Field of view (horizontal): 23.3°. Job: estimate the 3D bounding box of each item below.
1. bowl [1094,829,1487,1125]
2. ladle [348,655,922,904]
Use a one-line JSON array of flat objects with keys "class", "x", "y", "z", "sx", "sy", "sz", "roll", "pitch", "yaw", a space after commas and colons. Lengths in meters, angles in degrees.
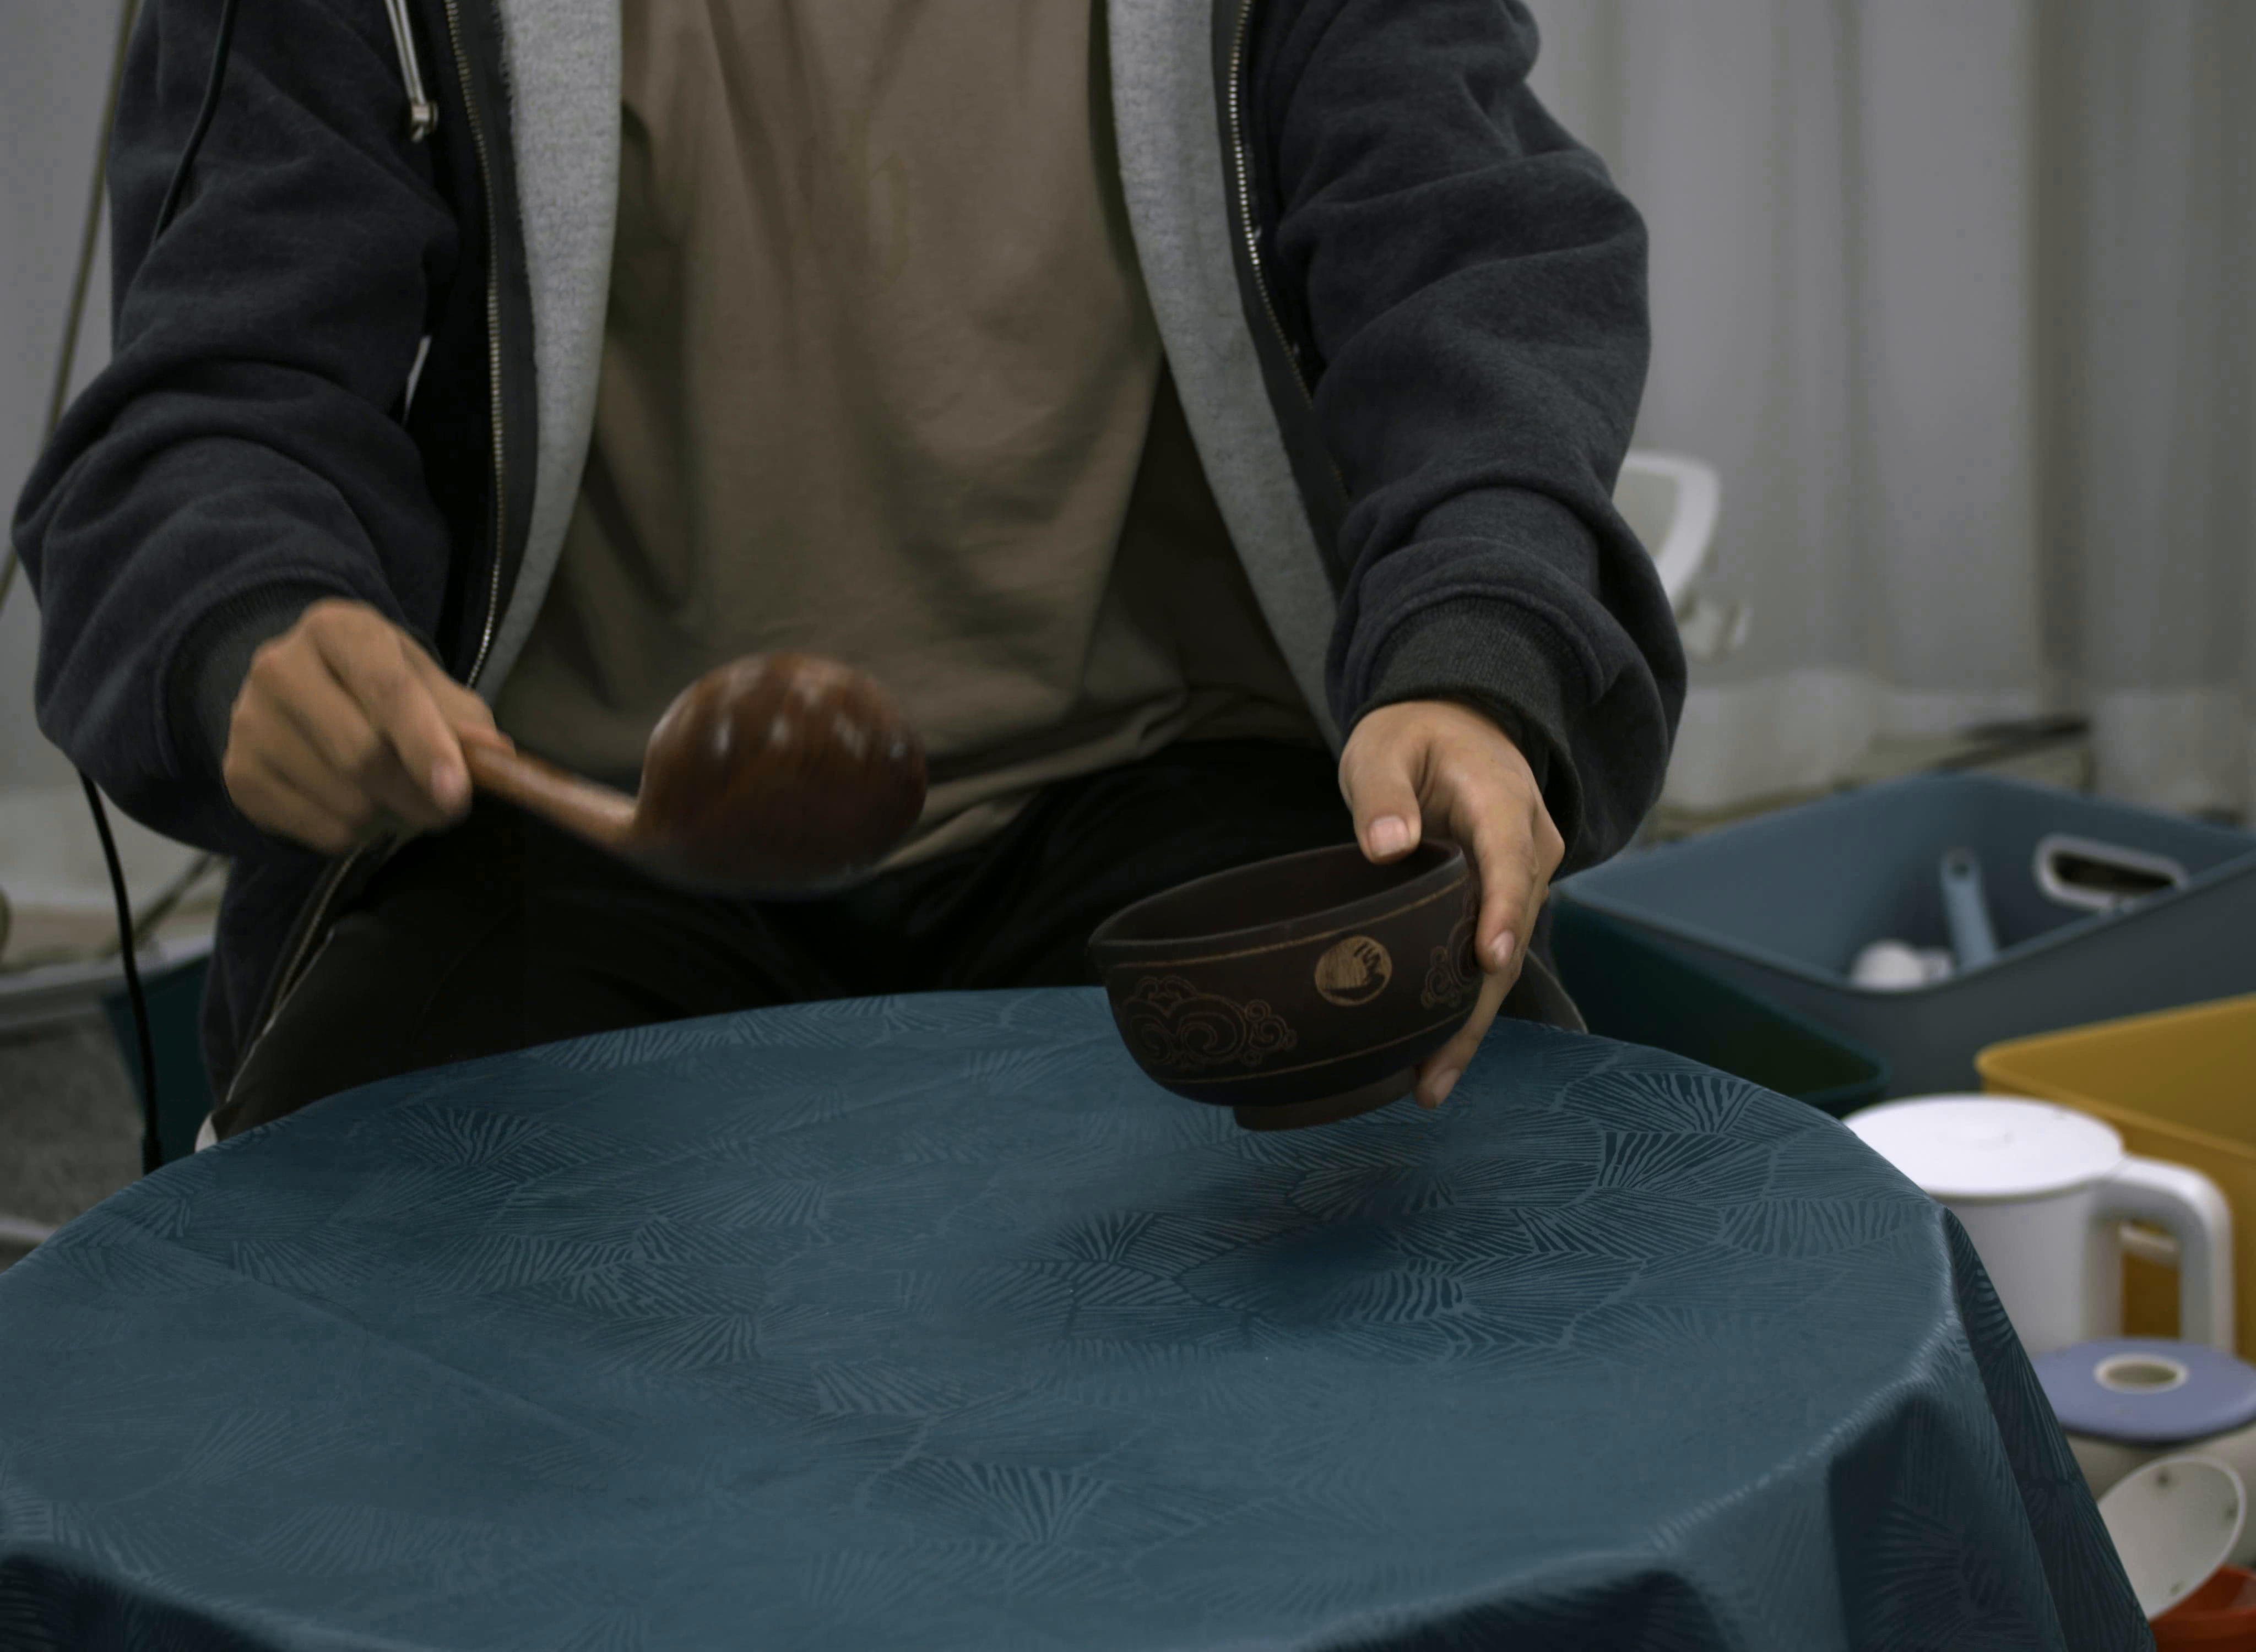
[{"class": "bowl", "x": 0.053, "y": 0.050, "z": 1.657, "sx": 0.117, "sy": 0.070, "sz": 0.118, "roll": -13, "pitch": 8, "yaw": 2}, {"class": "ladle", "x": -0.155, "y": -0.025, "z": 1.645, "sx": 0.077, "sy": 0.081, "sz": 0.276, "roll": -53, "pitch": 30, "yaw": -14}]
